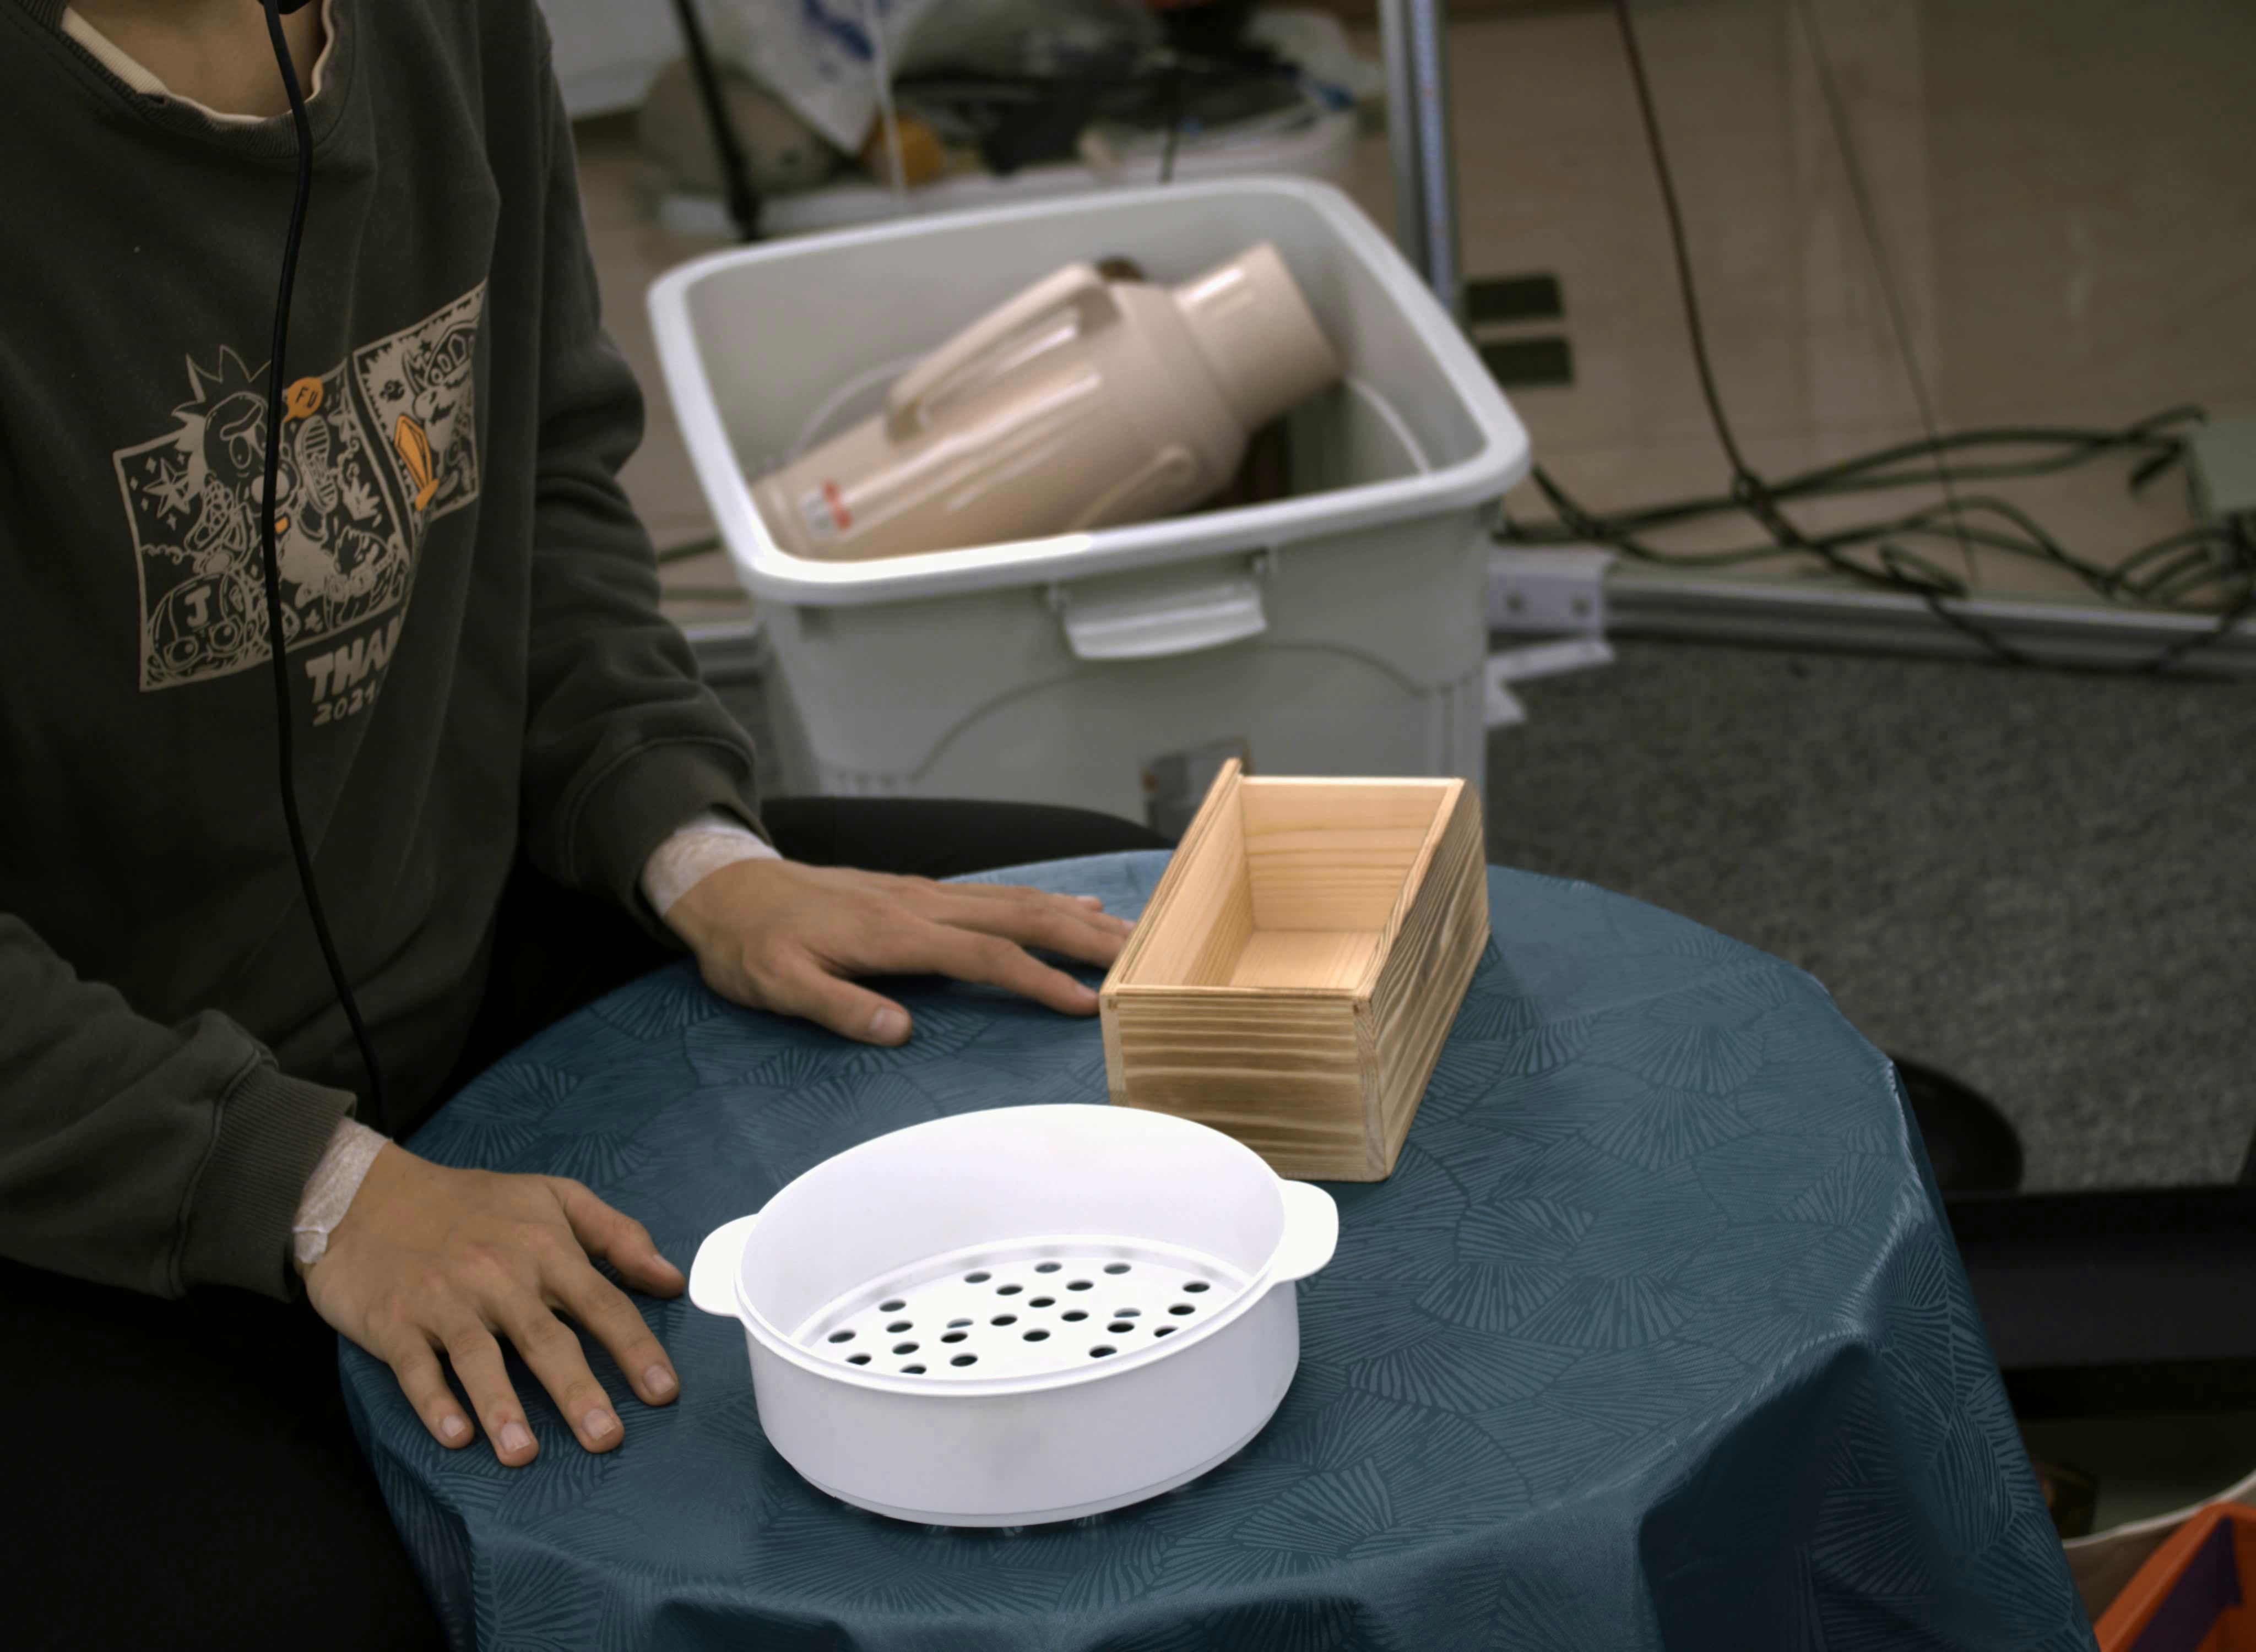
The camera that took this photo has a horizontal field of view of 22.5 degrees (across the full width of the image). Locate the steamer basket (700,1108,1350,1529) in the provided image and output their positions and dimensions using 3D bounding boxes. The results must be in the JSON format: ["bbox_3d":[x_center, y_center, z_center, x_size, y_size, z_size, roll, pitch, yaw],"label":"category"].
[{"bbox_3d":[-0.033,0.173,2.001,0.230,0.070,0.199,-5,24,7],"label":"steamer basket"}]

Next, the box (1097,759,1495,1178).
[{"bbox_3d":[0.069,0.053,2.216,0.107,0.081,0.208,0,26,15],"label":"box"}]
